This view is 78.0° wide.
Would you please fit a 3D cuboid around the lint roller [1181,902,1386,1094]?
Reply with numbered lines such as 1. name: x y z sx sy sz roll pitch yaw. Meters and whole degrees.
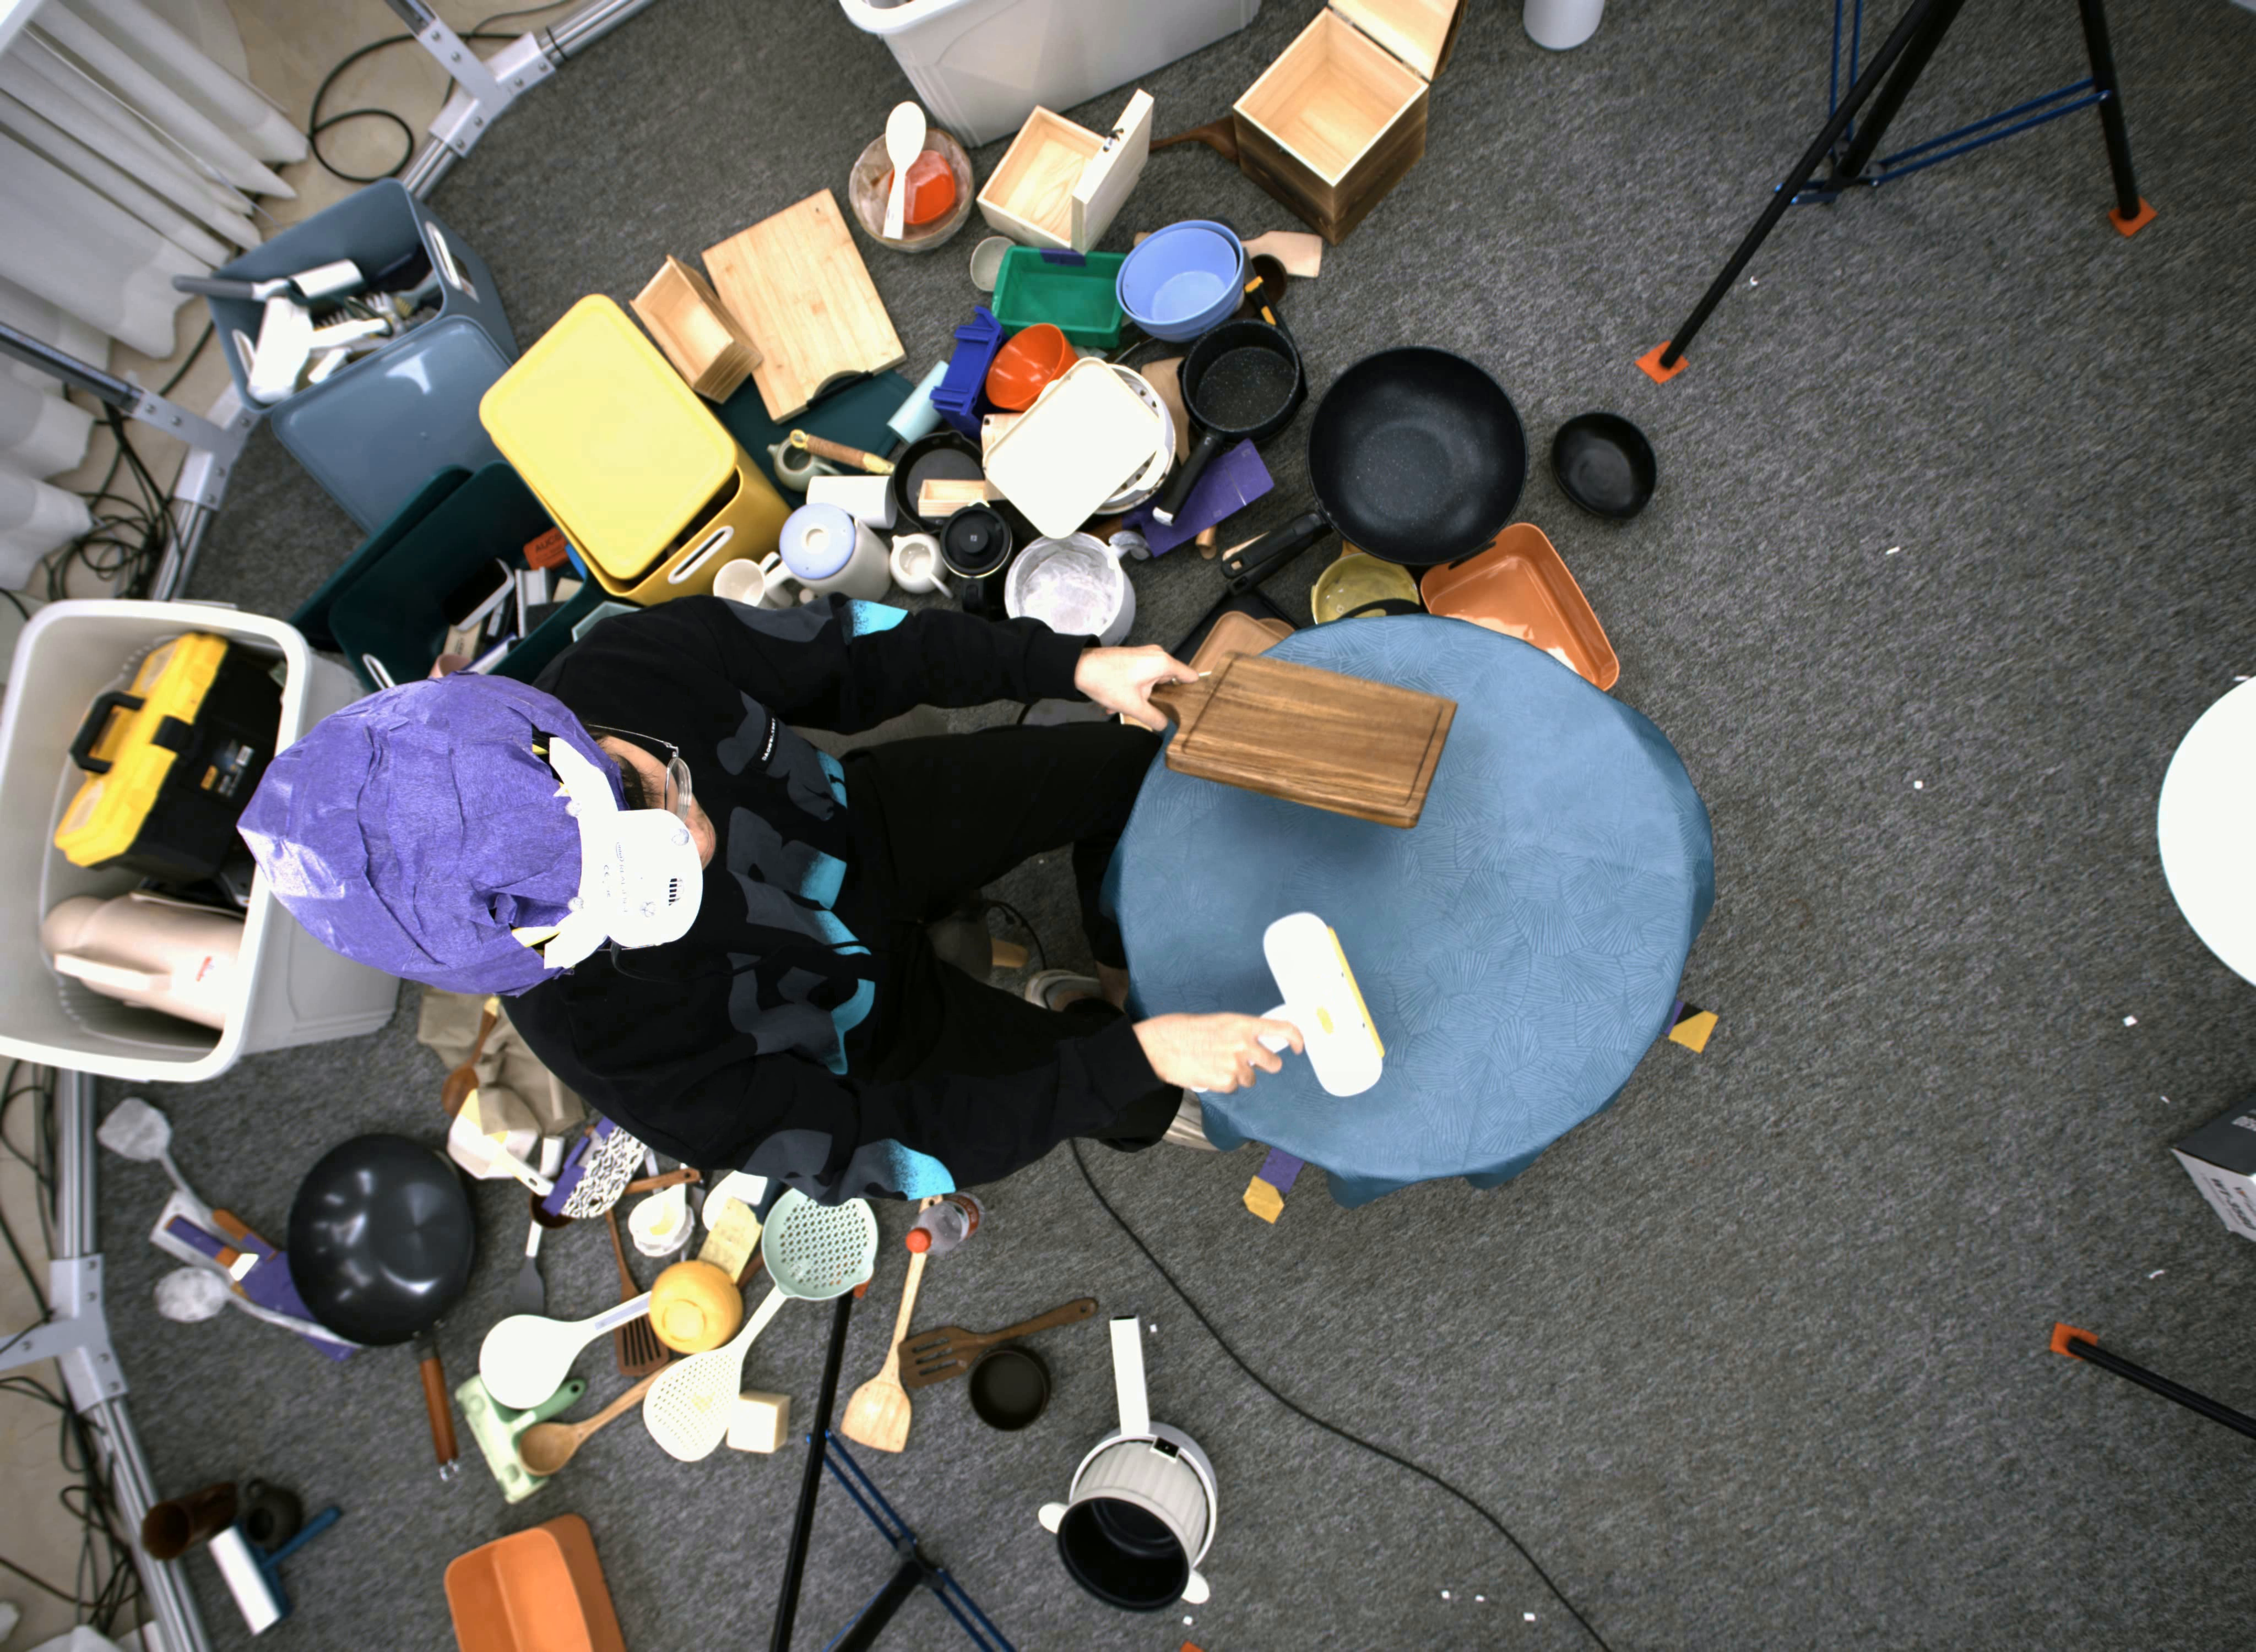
1. lint roller: 0.137 0.193 1.342 0.193 0.073 0.195 -28 108 5

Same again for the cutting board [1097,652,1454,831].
1. cutting board: 0.136 -0.102 1.374 0.352 0.196 0.024 15 134 15
